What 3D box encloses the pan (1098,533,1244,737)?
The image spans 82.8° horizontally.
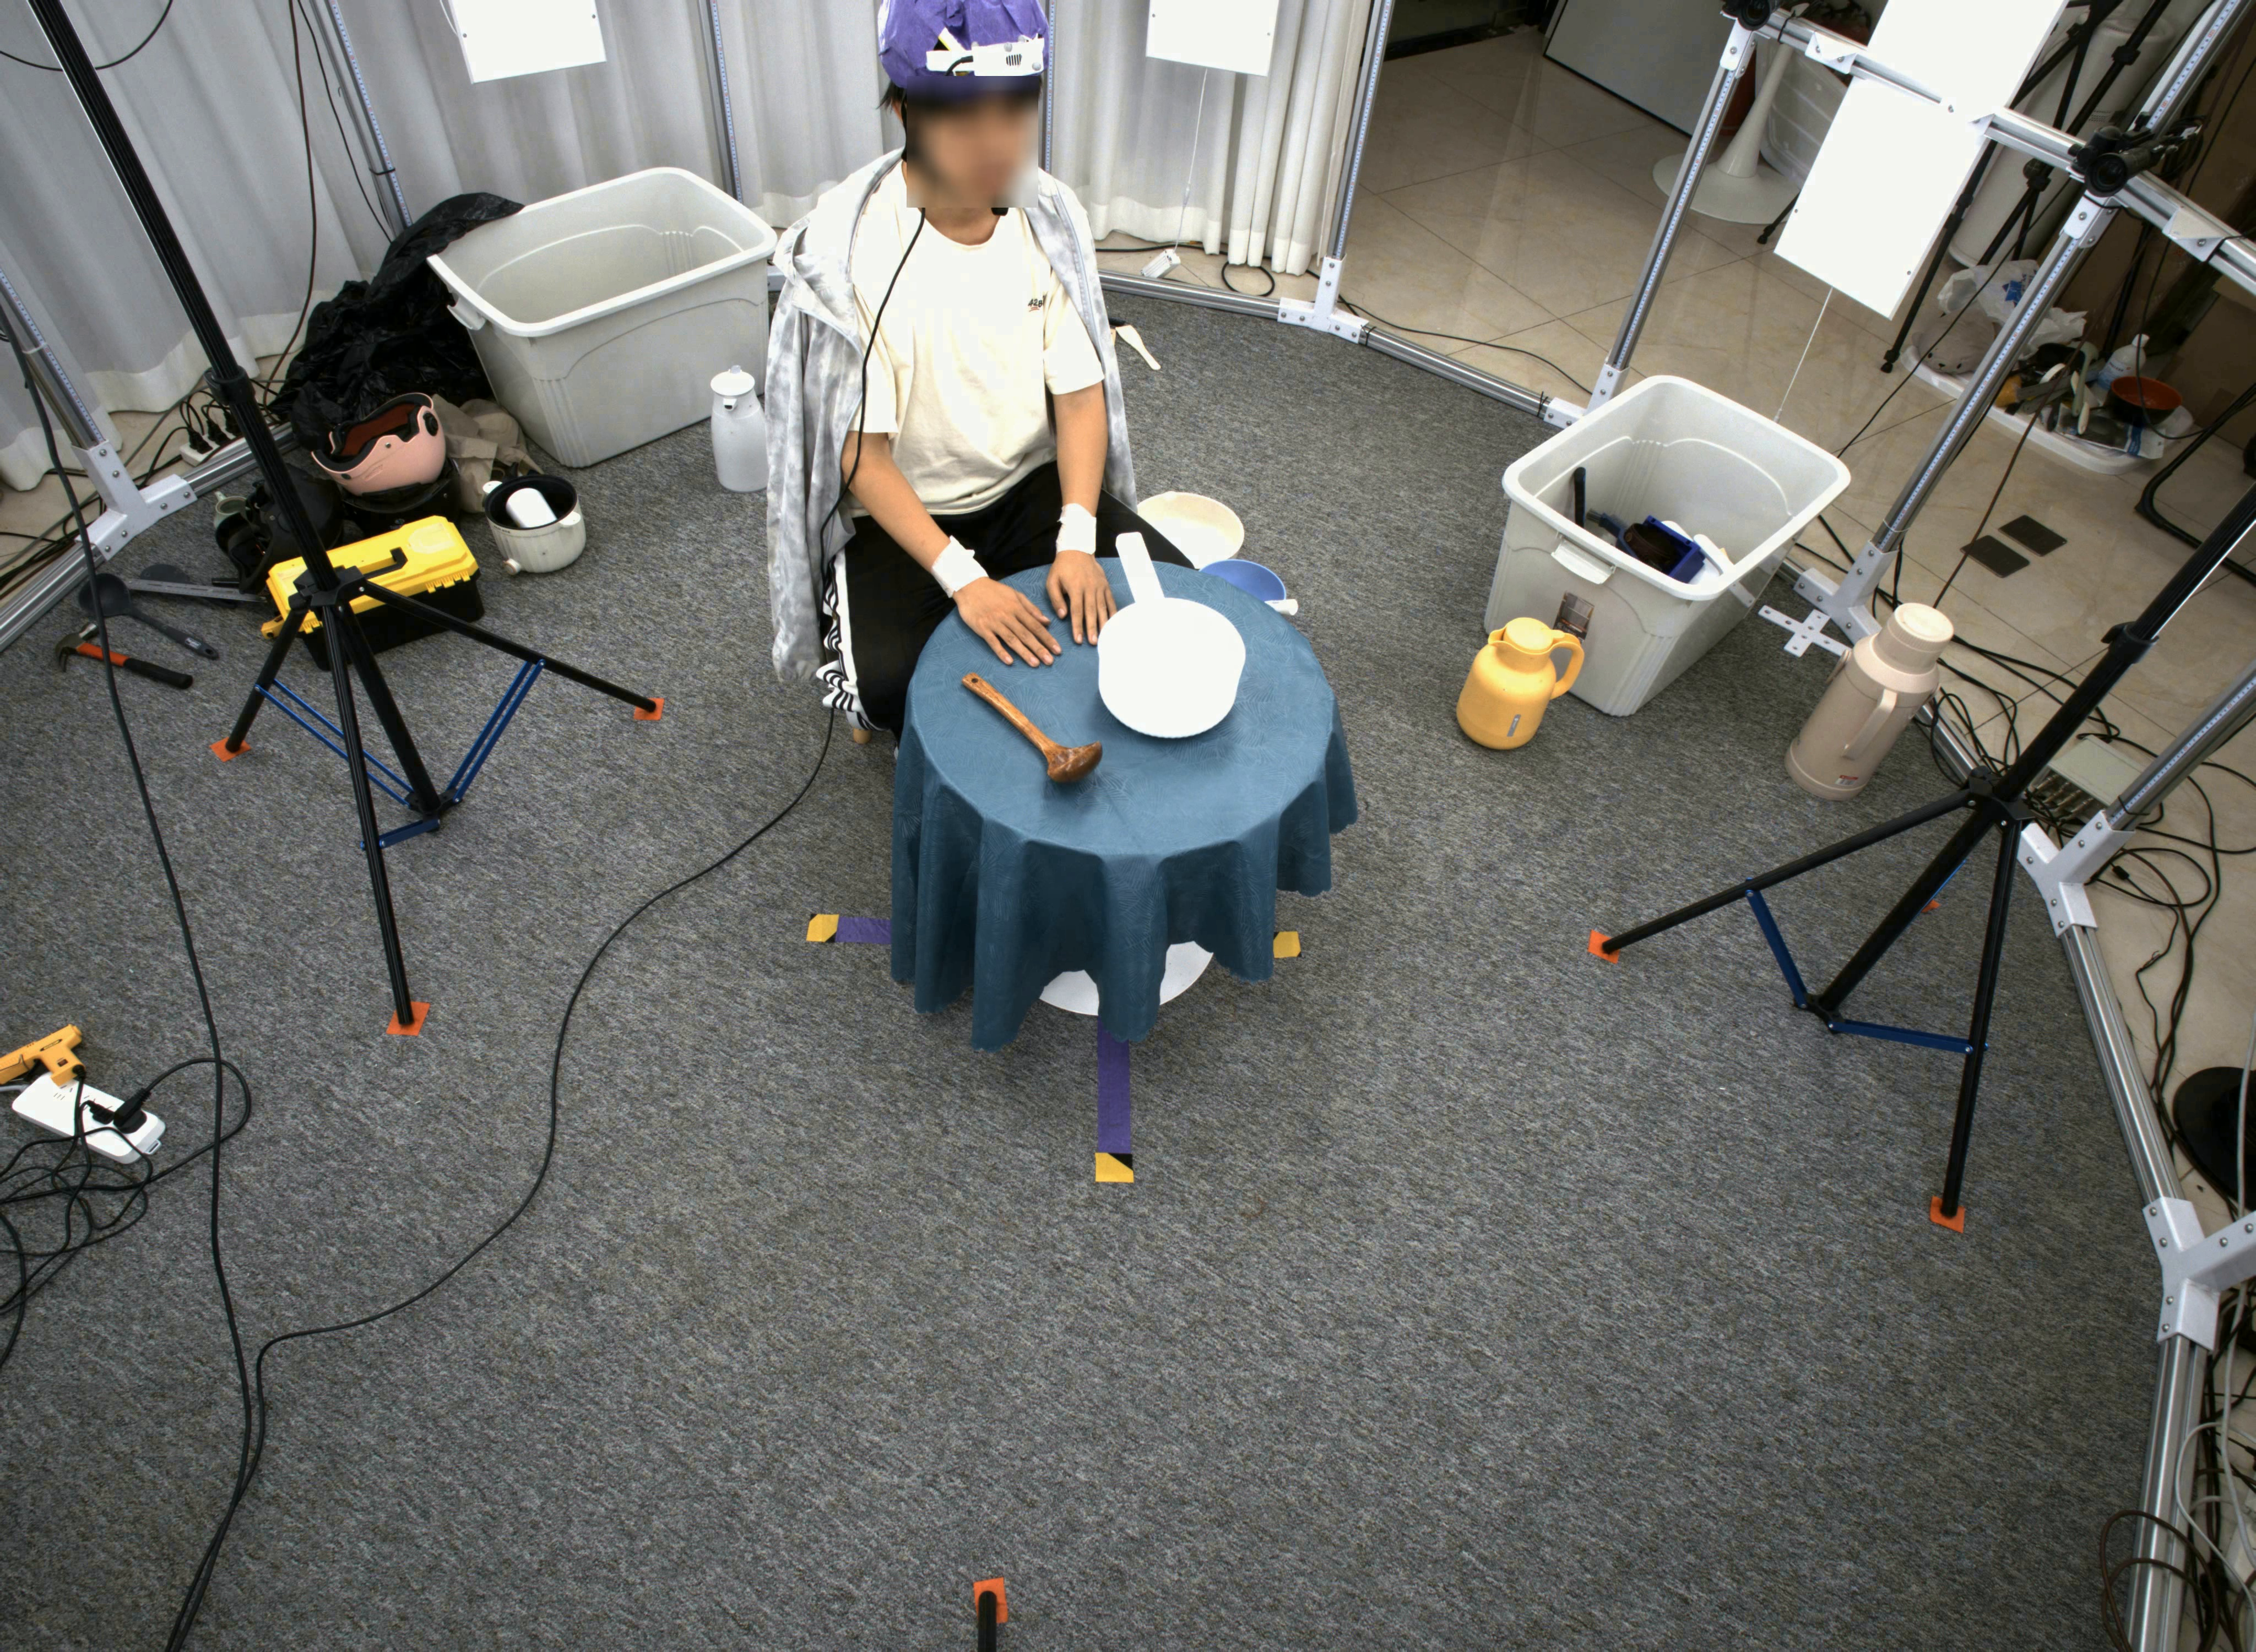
[{"bbox_3d":[0.041,-0.274,1.838,0.201,0.099,0.364,-8,49,-10],"label":"pan"}]

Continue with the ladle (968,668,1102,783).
[{"bbox_3d":[-0.137,-0.151,1.731,0.082,0.075,0.279,-29,57,-25],"label":"ladle"}]
